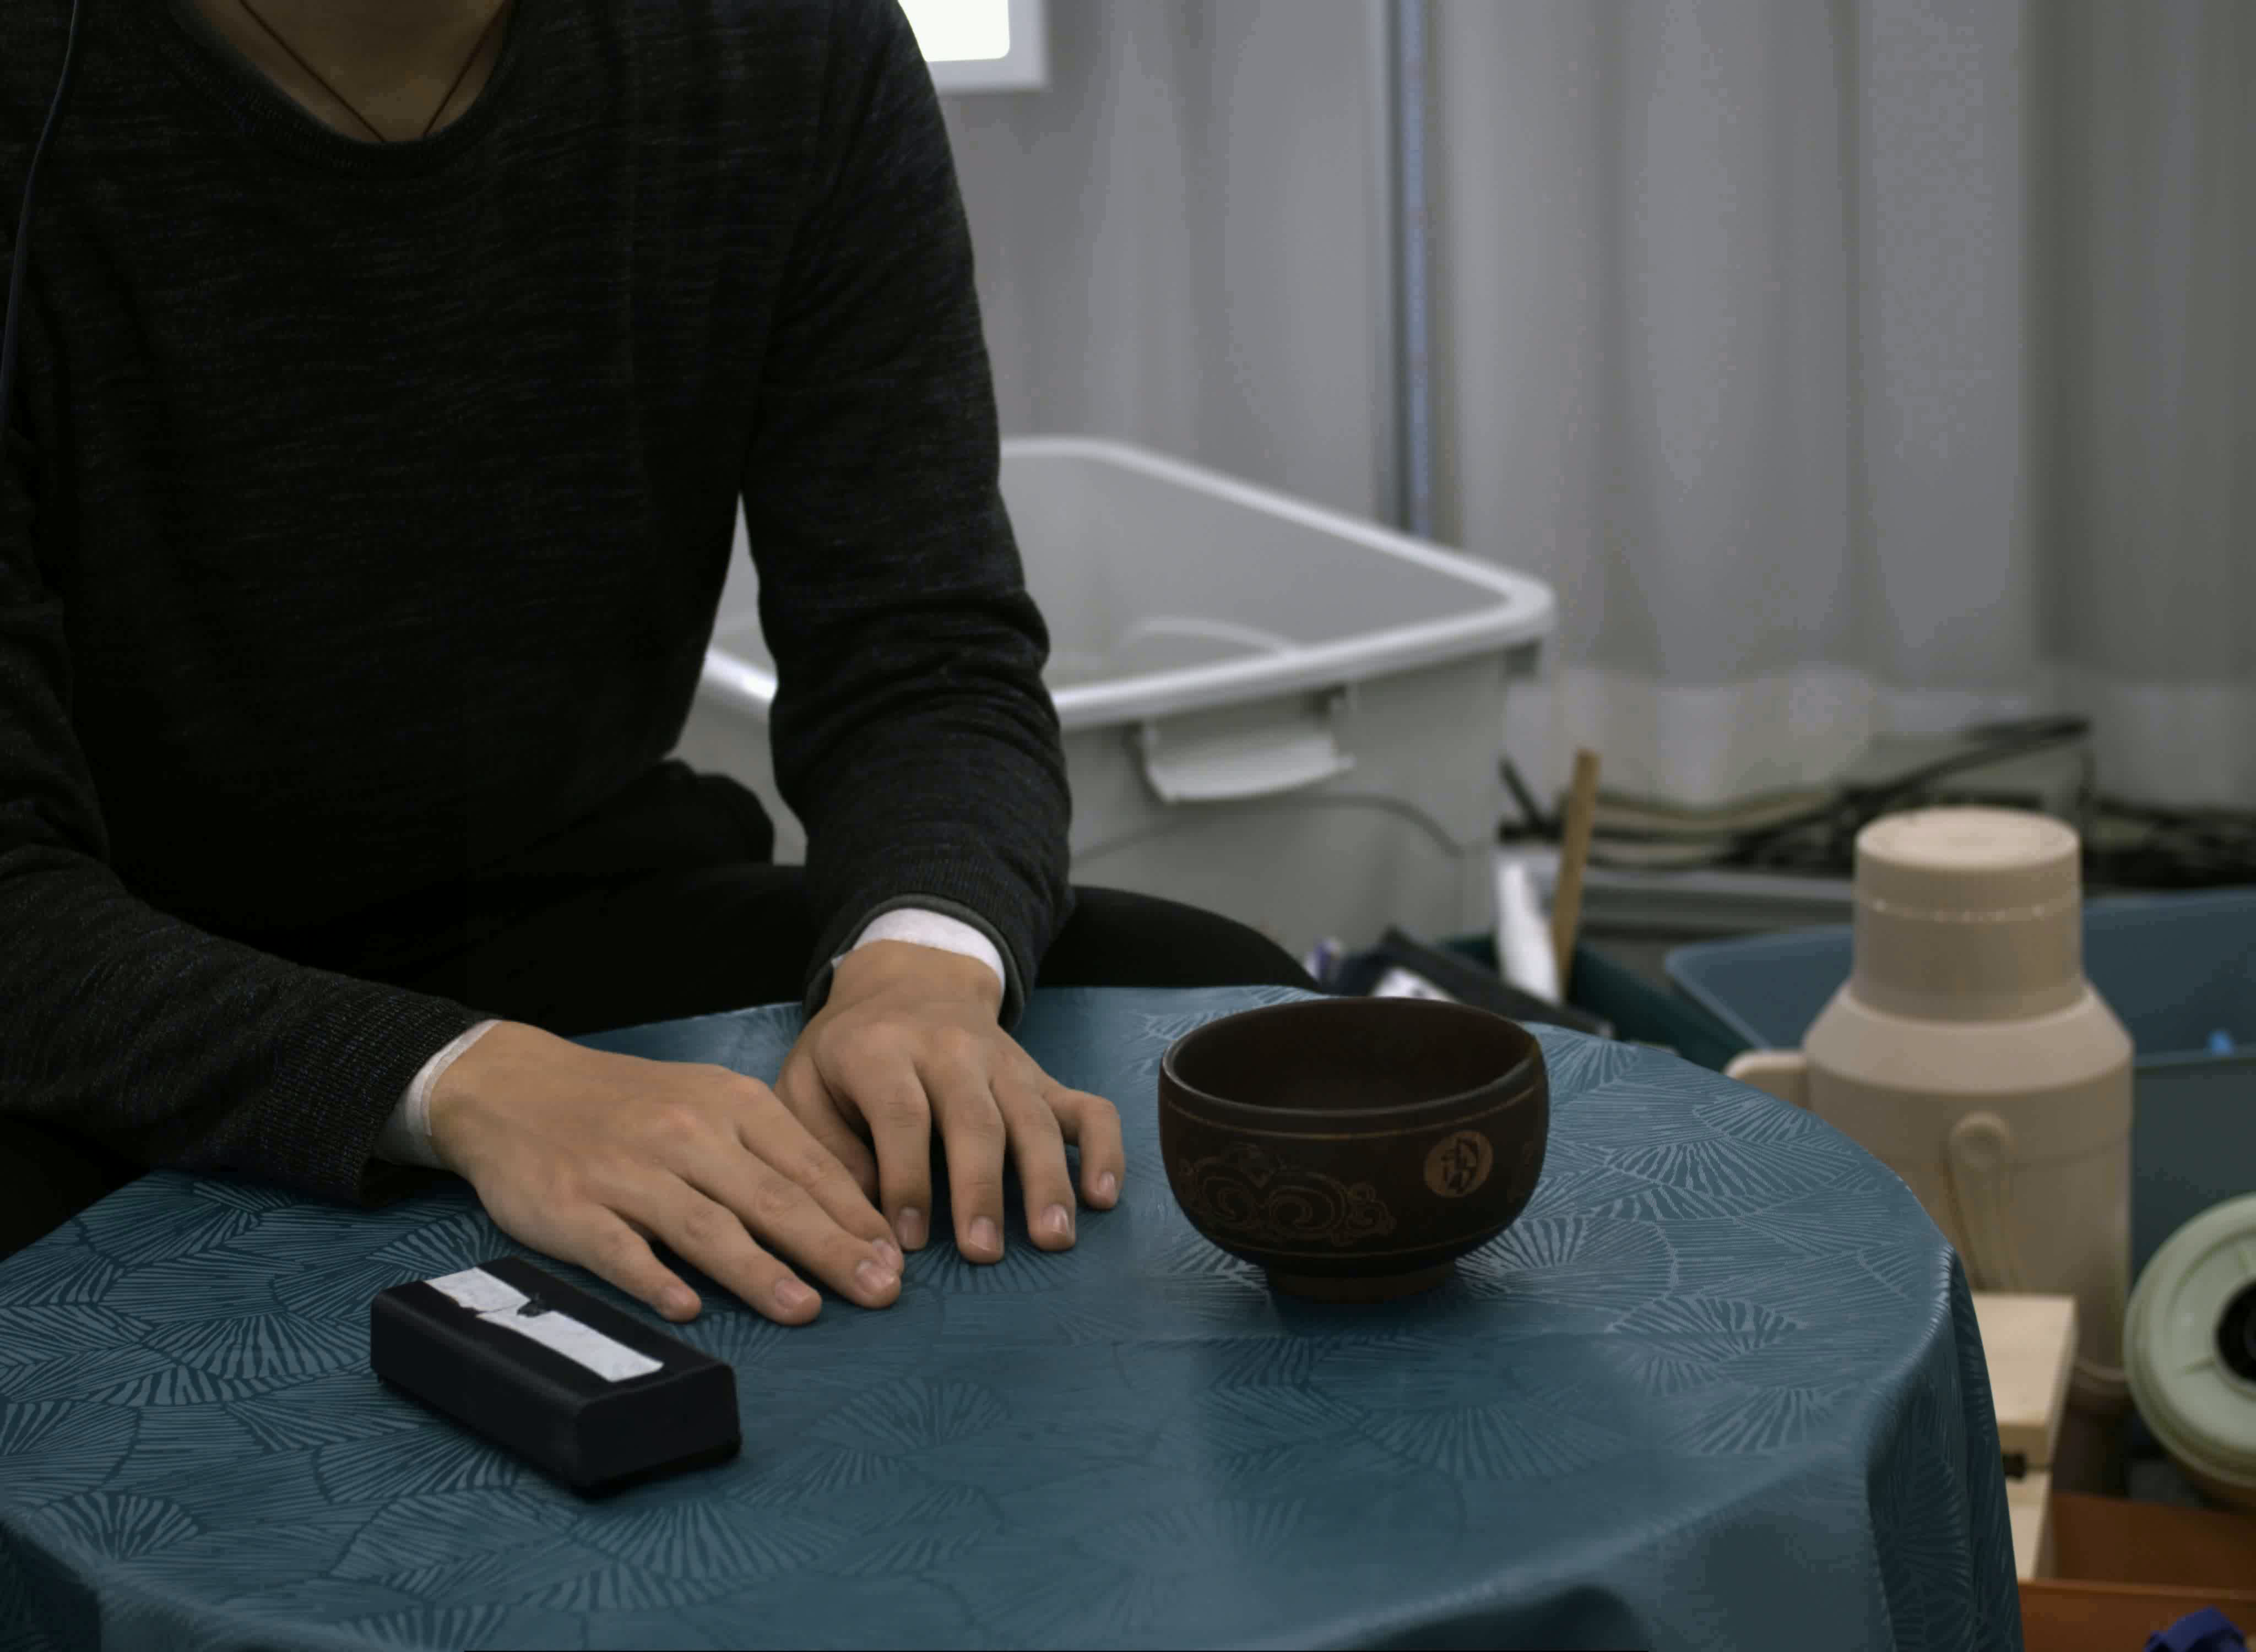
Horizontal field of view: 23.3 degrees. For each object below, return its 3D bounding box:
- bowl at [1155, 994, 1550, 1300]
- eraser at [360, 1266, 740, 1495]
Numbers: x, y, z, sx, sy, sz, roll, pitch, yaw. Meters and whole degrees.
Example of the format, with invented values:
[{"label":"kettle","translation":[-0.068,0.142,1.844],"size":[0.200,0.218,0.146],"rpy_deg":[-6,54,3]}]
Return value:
[{"label":"bowl","translation":[0.067,0.099,1.622],"size":[0.117,0.069,0.119],"rpy_deg":[-4,14,1]},{"label":"eraser","translation":[-0.163,0.155,1.538],"size":[0.053,0.030,0.126],"rpy_deg":[-10,16,-35]}]
